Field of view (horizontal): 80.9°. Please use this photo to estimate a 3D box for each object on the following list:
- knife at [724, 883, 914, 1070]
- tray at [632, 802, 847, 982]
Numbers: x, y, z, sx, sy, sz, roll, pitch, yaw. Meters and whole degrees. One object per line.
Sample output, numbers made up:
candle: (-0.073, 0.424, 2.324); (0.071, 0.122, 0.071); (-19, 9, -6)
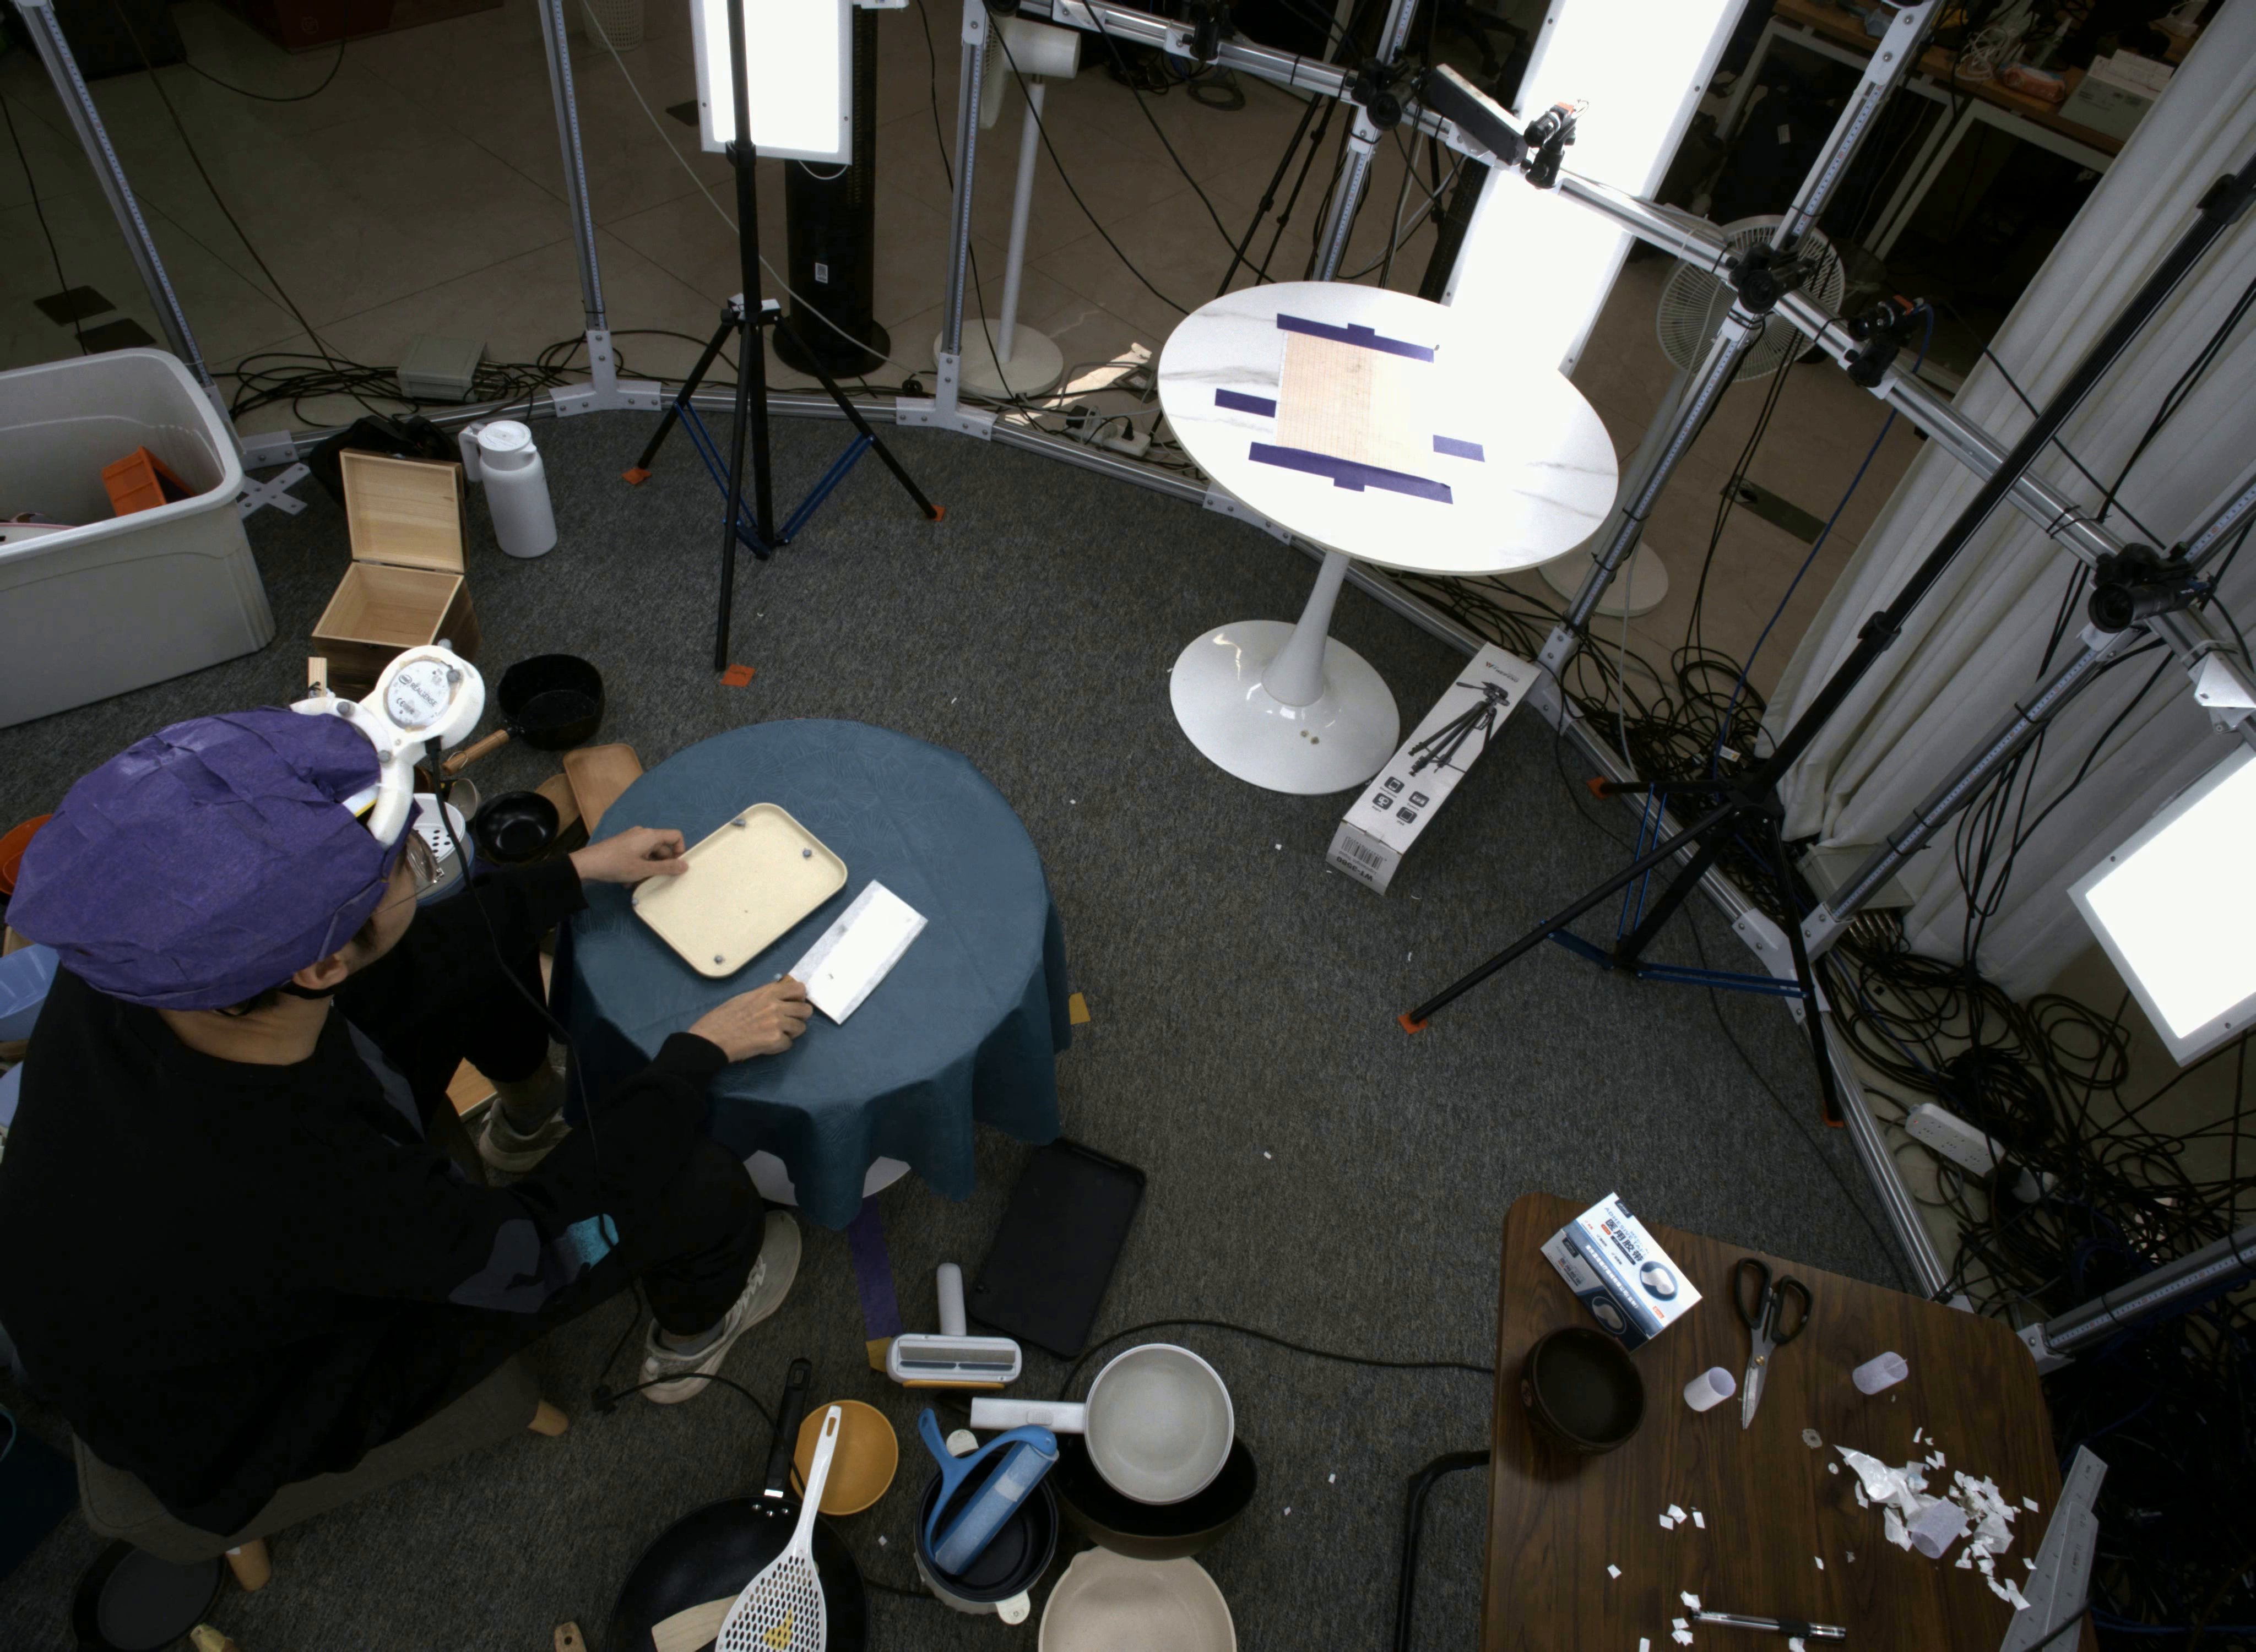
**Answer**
knife: (-0.363, 0.187, 1.571); (0.093, 0.021, 0.304); (37, 50, -1)
tray: (-0.485, 0.078, 1.620); (0.169, 0.018, 0.240); (40, 53, 10)
